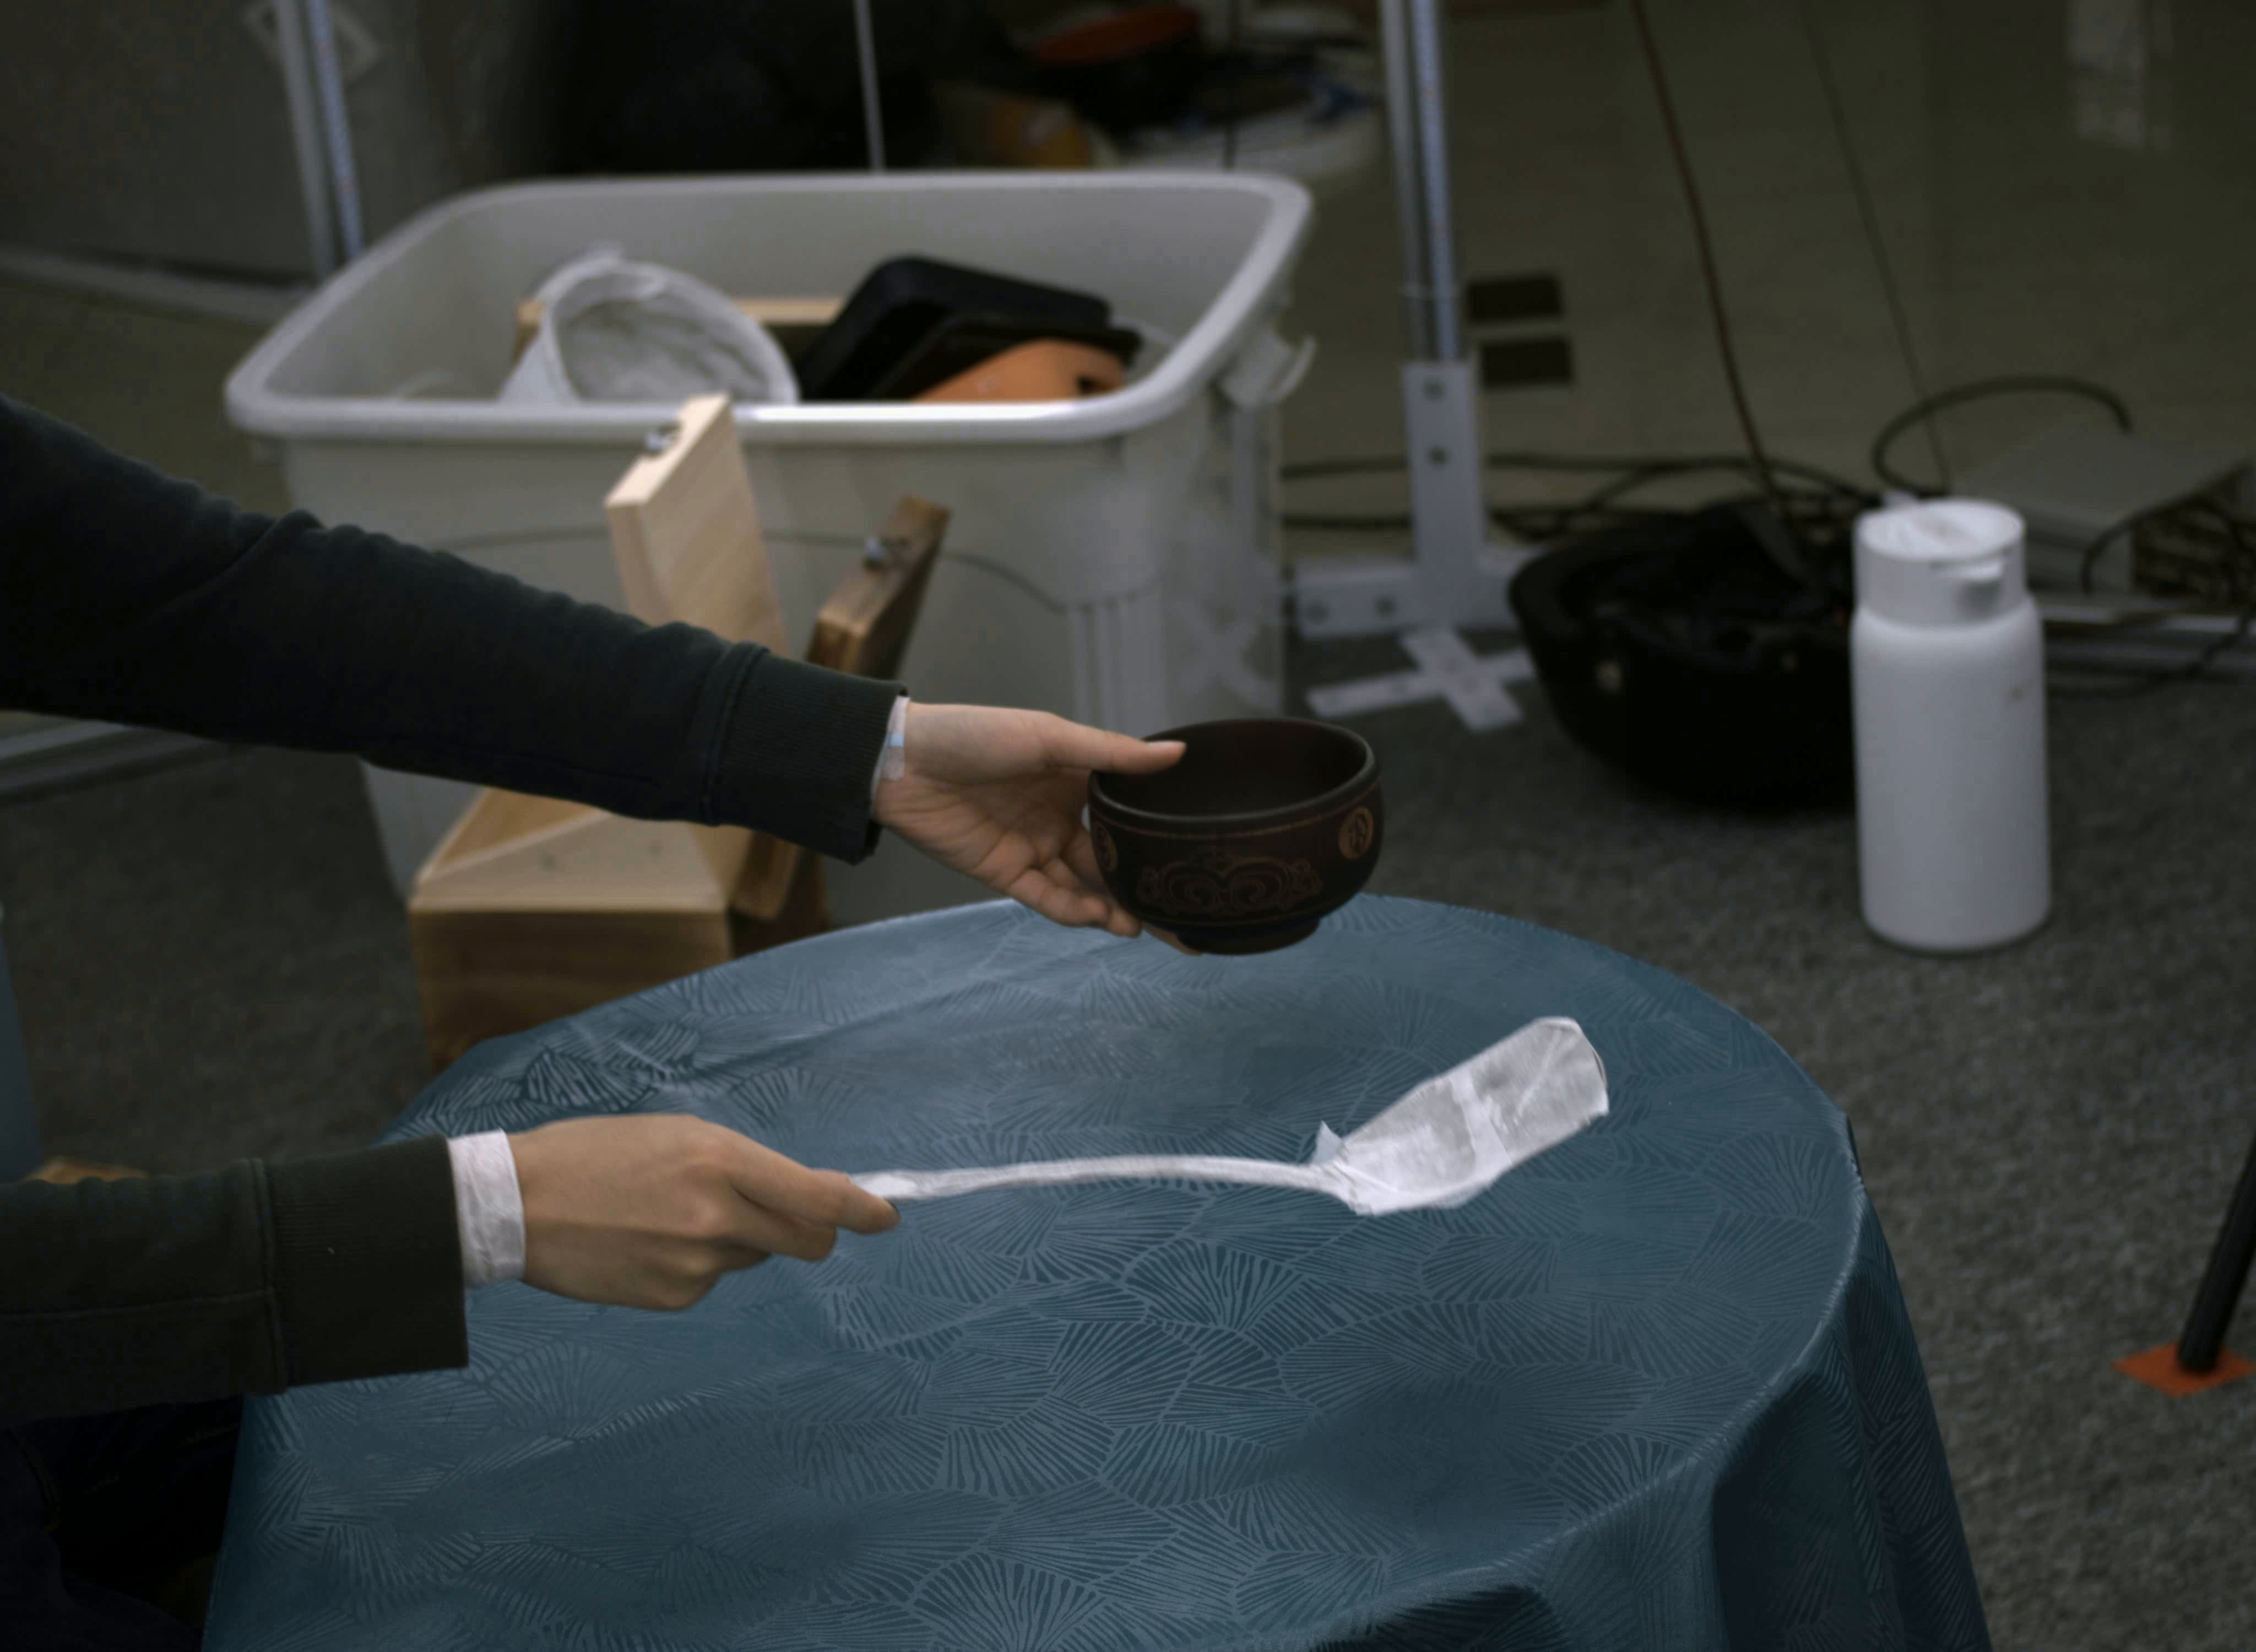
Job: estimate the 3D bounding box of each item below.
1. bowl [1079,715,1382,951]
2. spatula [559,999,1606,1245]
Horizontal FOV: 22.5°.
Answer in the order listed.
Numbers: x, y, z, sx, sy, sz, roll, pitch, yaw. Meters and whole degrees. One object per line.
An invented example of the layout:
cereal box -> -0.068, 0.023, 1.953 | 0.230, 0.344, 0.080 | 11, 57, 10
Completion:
bowl -> 0.042, 0.007, 2.216 | 0.118, 0.071, 0.116 | -7, 19, 3
spatula -> -0.018, 0.110, 1.943 | 0.364, 0.045, 0.097 | -5, 24, 0
